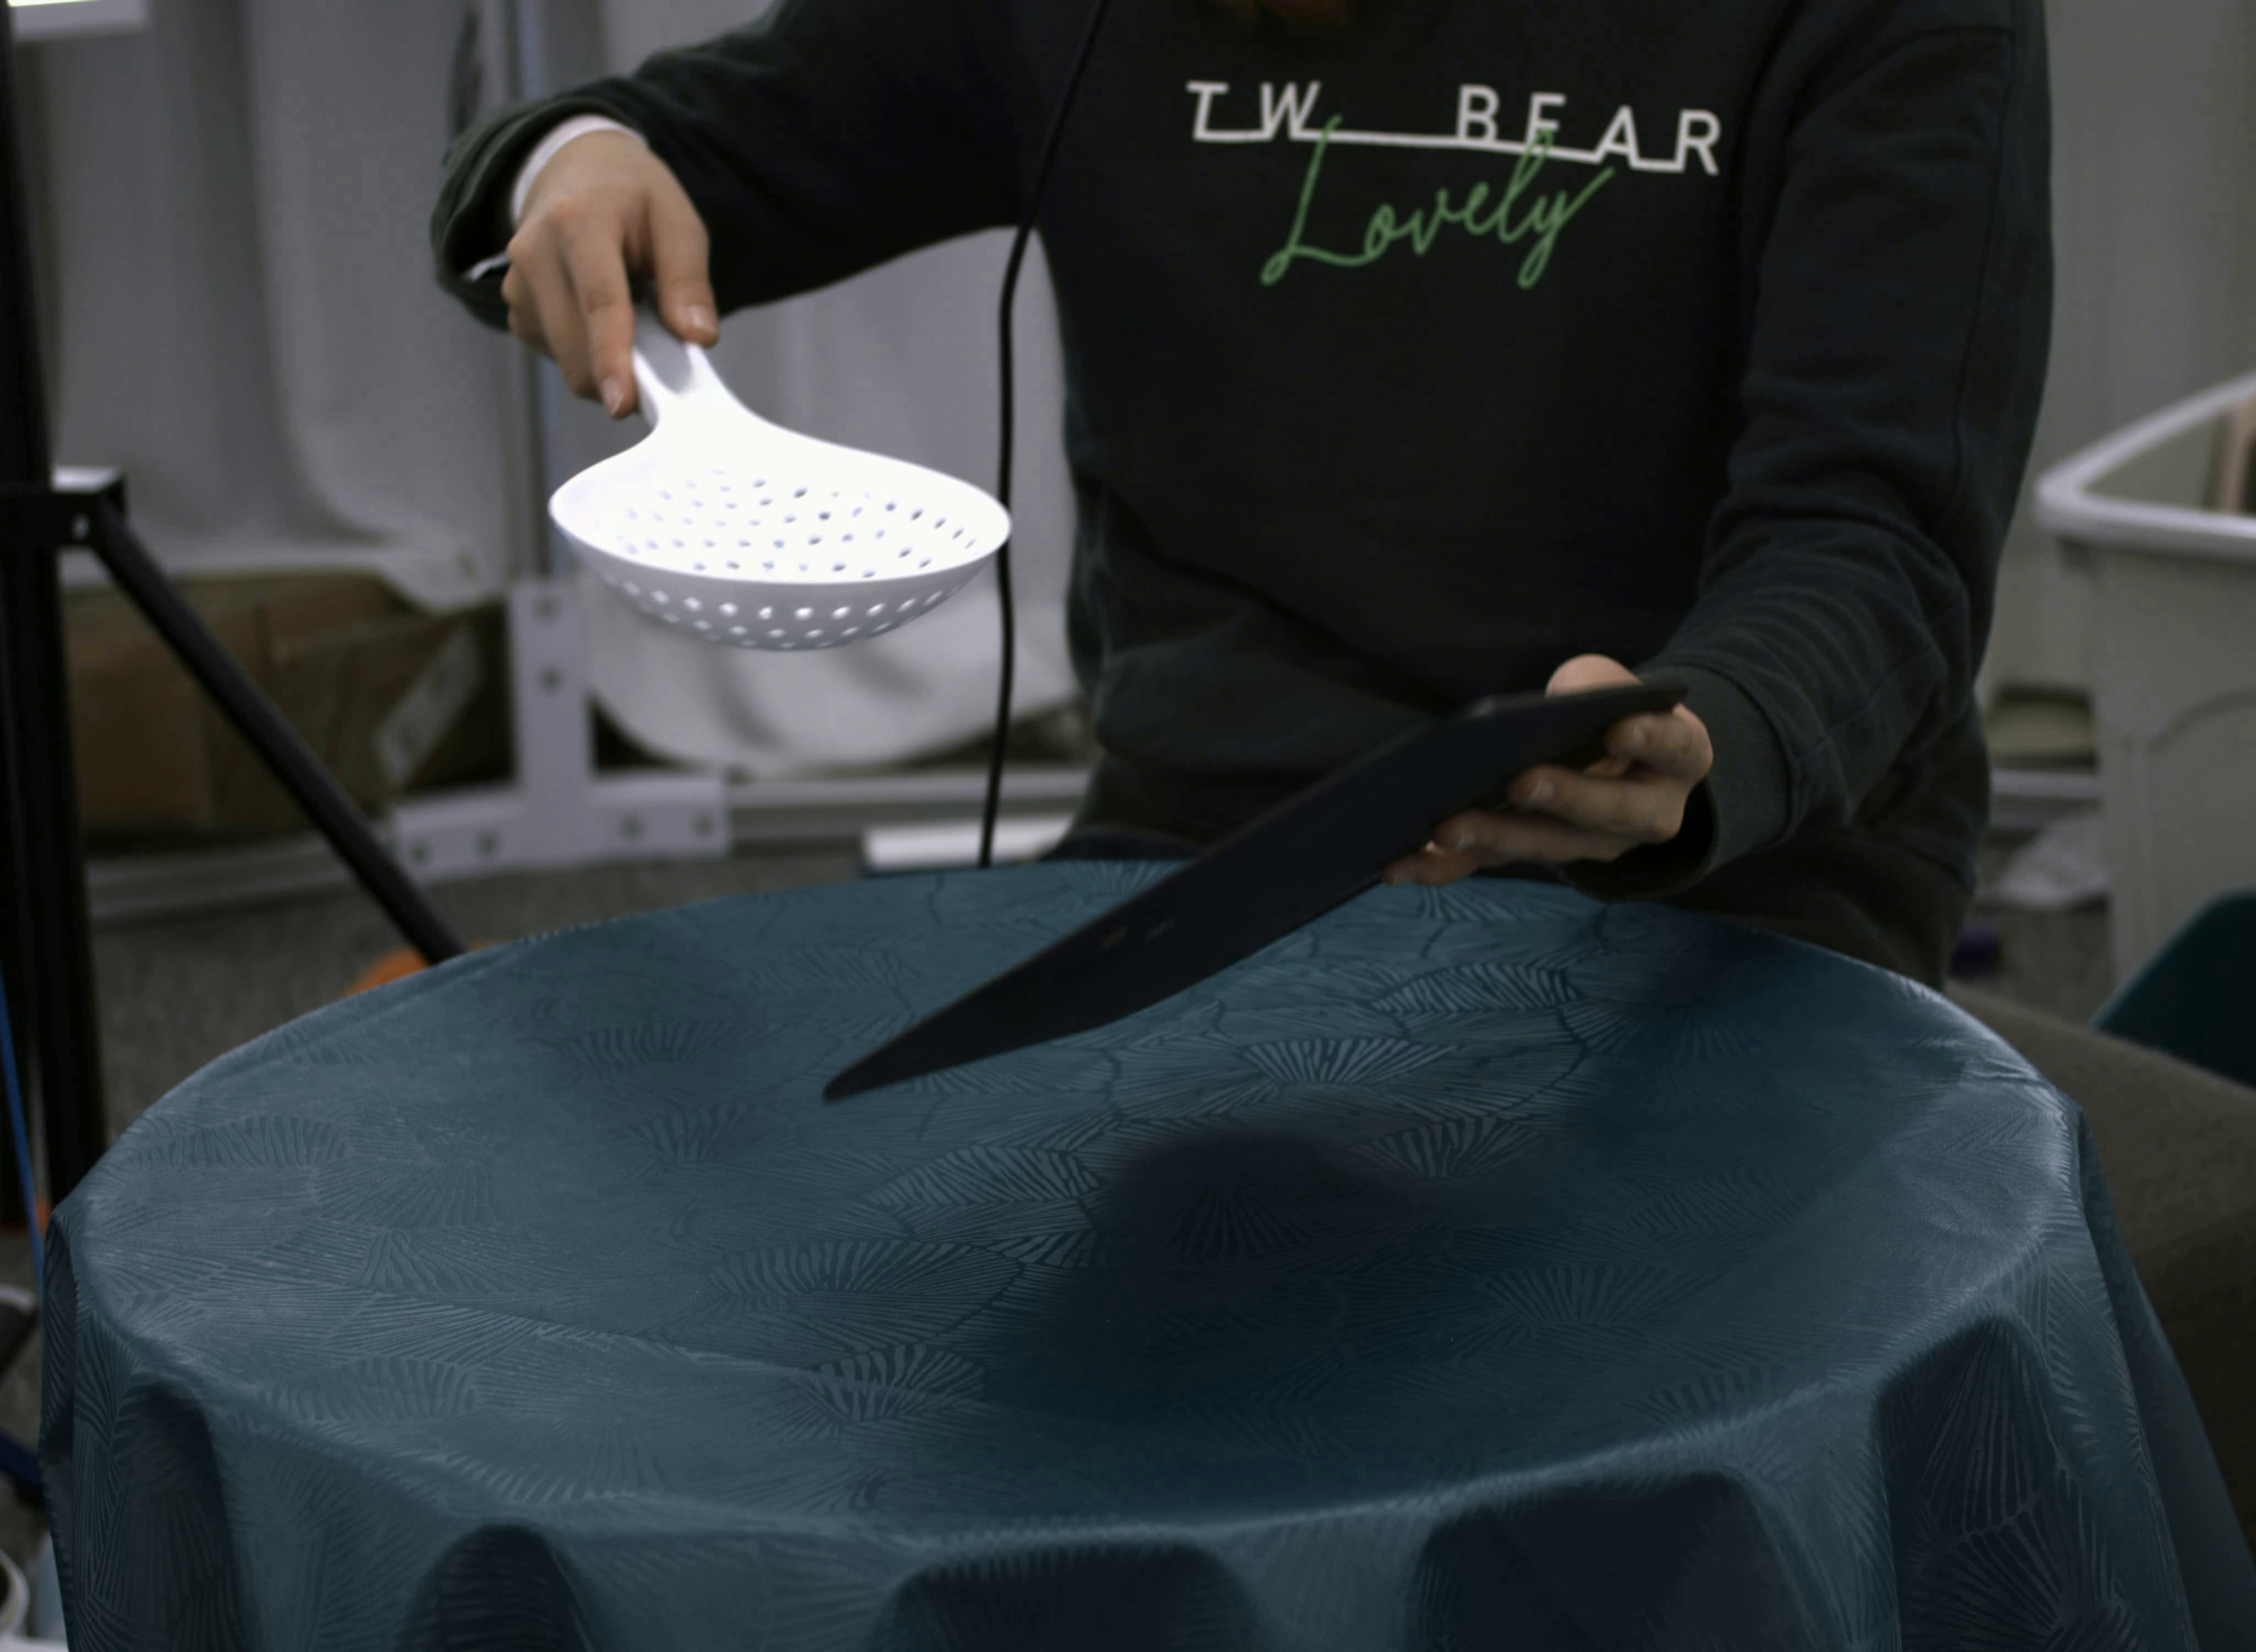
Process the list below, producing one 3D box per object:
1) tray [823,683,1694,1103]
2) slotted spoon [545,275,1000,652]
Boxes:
[{"bbox_3d":[0.045,0.016,1.472,0.213,0.010,0.320,-30,-6,18],"label":"tray"},{"bbox_3d":[-0.134,-0.123,1.685,0.134,0.046,0.355,-1,25,-15],"label":"slotted spoon"}]
